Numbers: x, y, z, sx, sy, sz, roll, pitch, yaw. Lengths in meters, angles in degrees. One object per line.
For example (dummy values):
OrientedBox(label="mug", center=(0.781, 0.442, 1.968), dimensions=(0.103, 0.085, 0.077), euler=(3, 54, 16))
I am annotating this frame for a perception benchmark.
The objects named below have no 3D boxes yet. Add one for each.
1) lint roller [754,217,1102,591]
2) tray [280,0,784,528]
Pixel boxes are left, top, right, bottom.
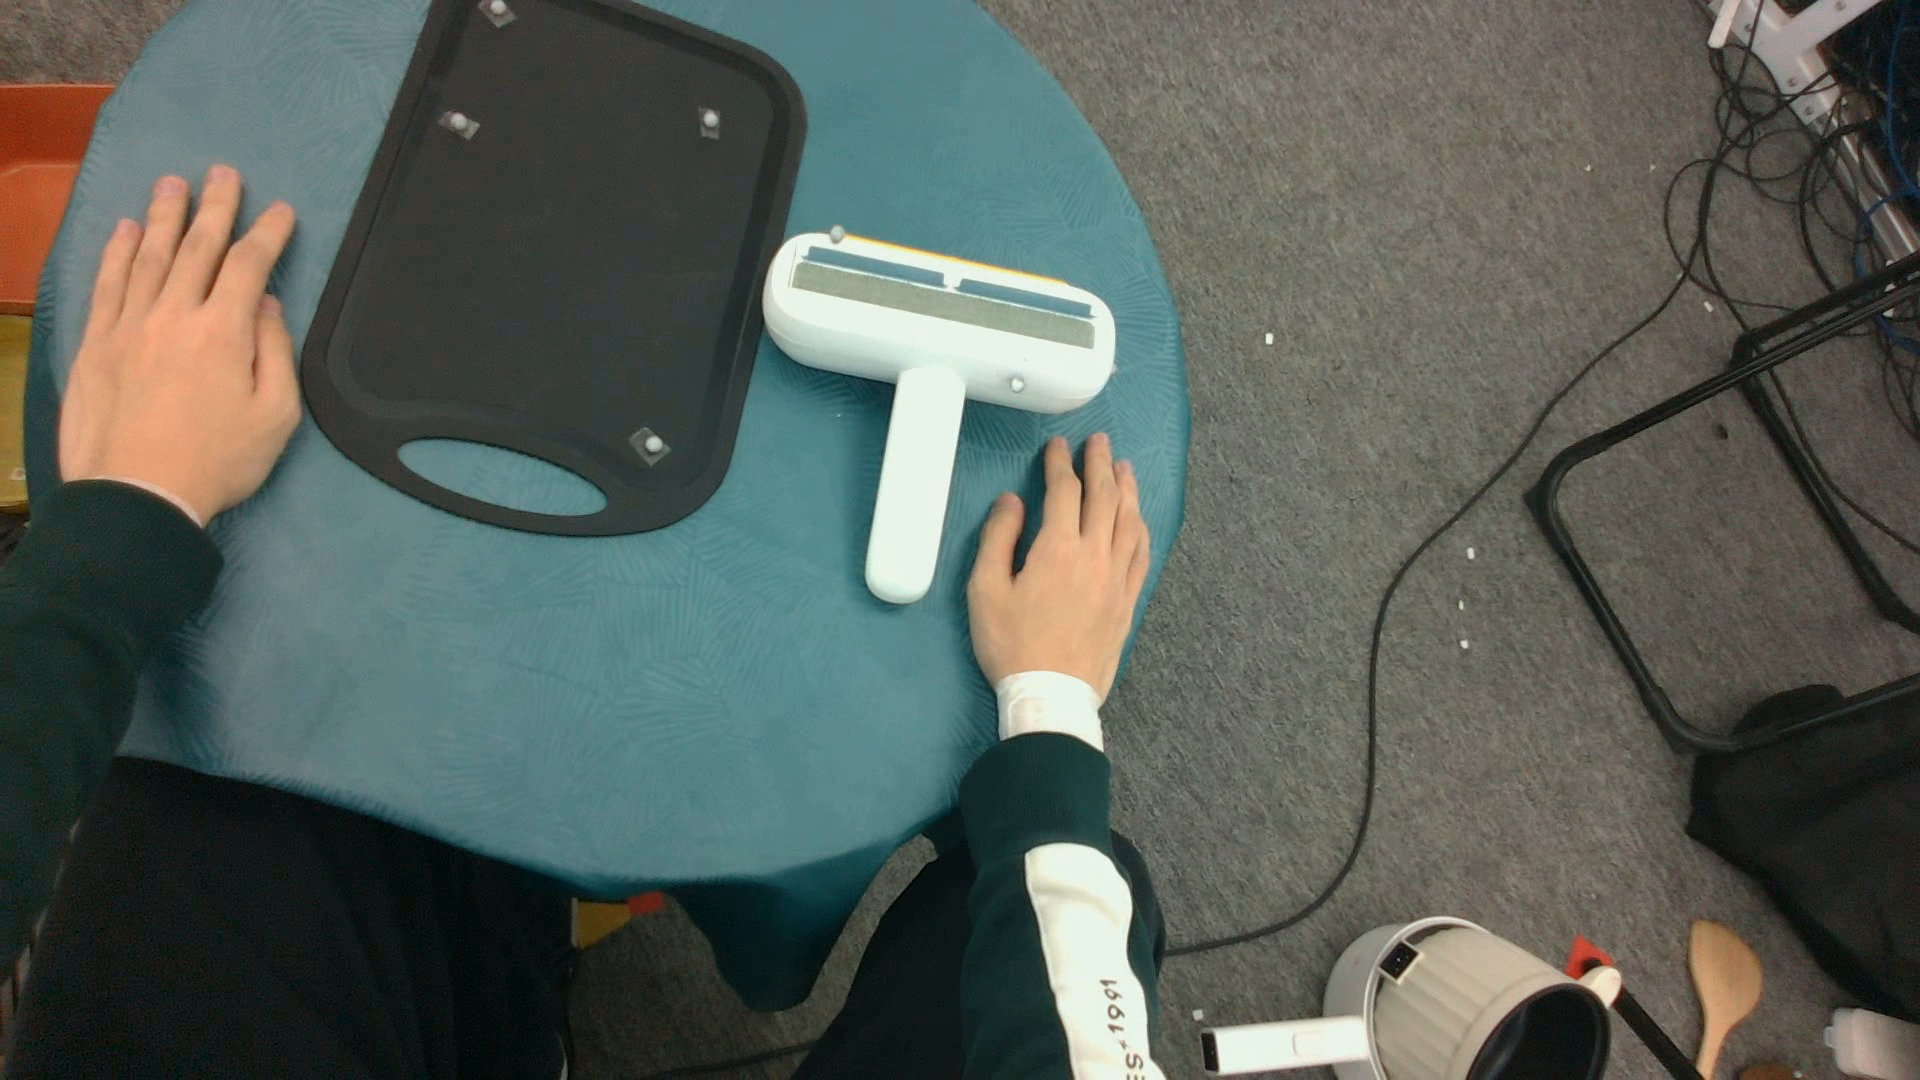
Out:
OrientedBox(label="lint roller", center=(-0.033, -0.066, 0.754), dimensions=(0.193, 0.074, 0.192), euler=(16, 82, -9))
OrientedBox(label="tray", center=(-0.215, -0.162, 0.728), dimensions=(0.211, 0.010, 0.326), euler=(15, 68, -16))
